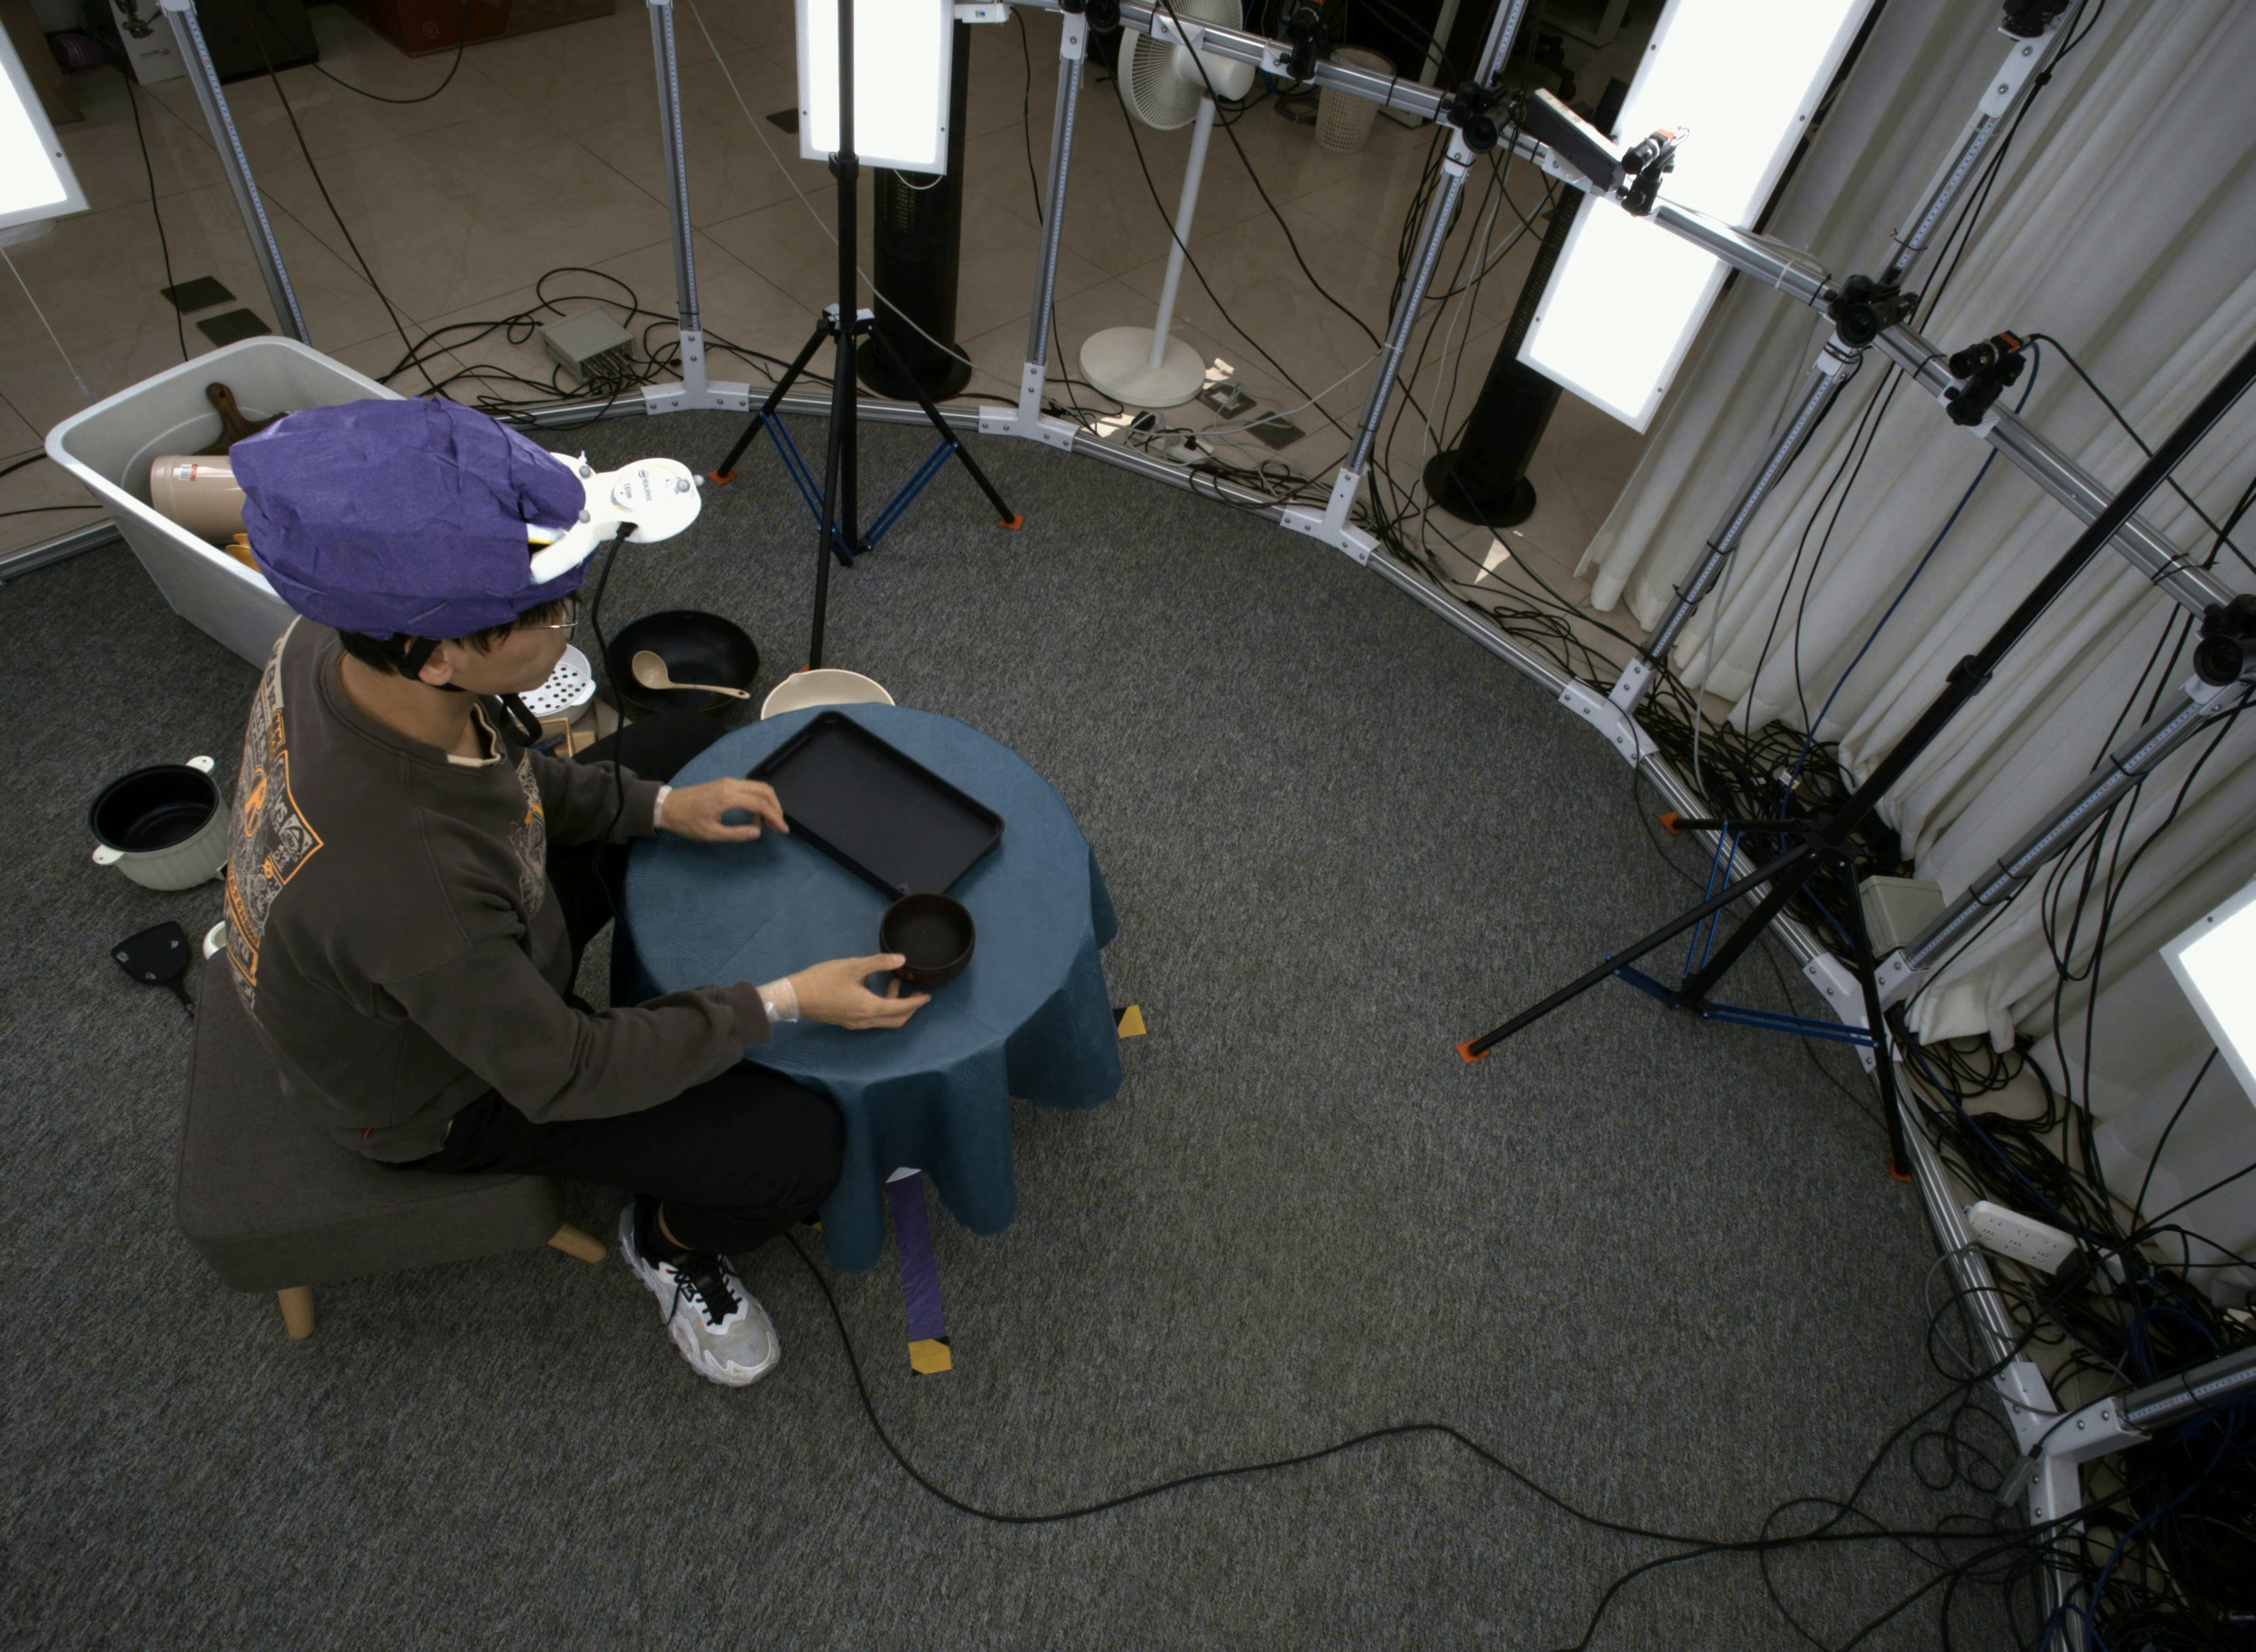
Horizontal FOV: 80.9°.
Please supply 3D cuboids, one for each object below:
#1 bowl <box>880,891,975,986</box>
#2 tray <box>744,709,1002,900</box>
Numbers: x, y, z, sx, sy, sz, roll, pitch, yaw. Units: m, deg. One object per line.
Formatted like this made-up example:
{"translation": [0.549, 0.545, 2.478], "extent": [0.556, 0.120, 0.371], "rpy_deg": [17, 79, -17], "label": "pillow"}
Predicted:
{"translation": [-0.250, 0.147, 1.627], "extent": [0.117, 0.071, 0.116], "rpy_deg": [6, 53, -7], "label": "bowl"}
{"translation": [-0.343, -0.024, 1.754], "extent": [0.312, 0.038, 0.184], "rpy_deg": [31, 54, 10], "label": "tray"}
